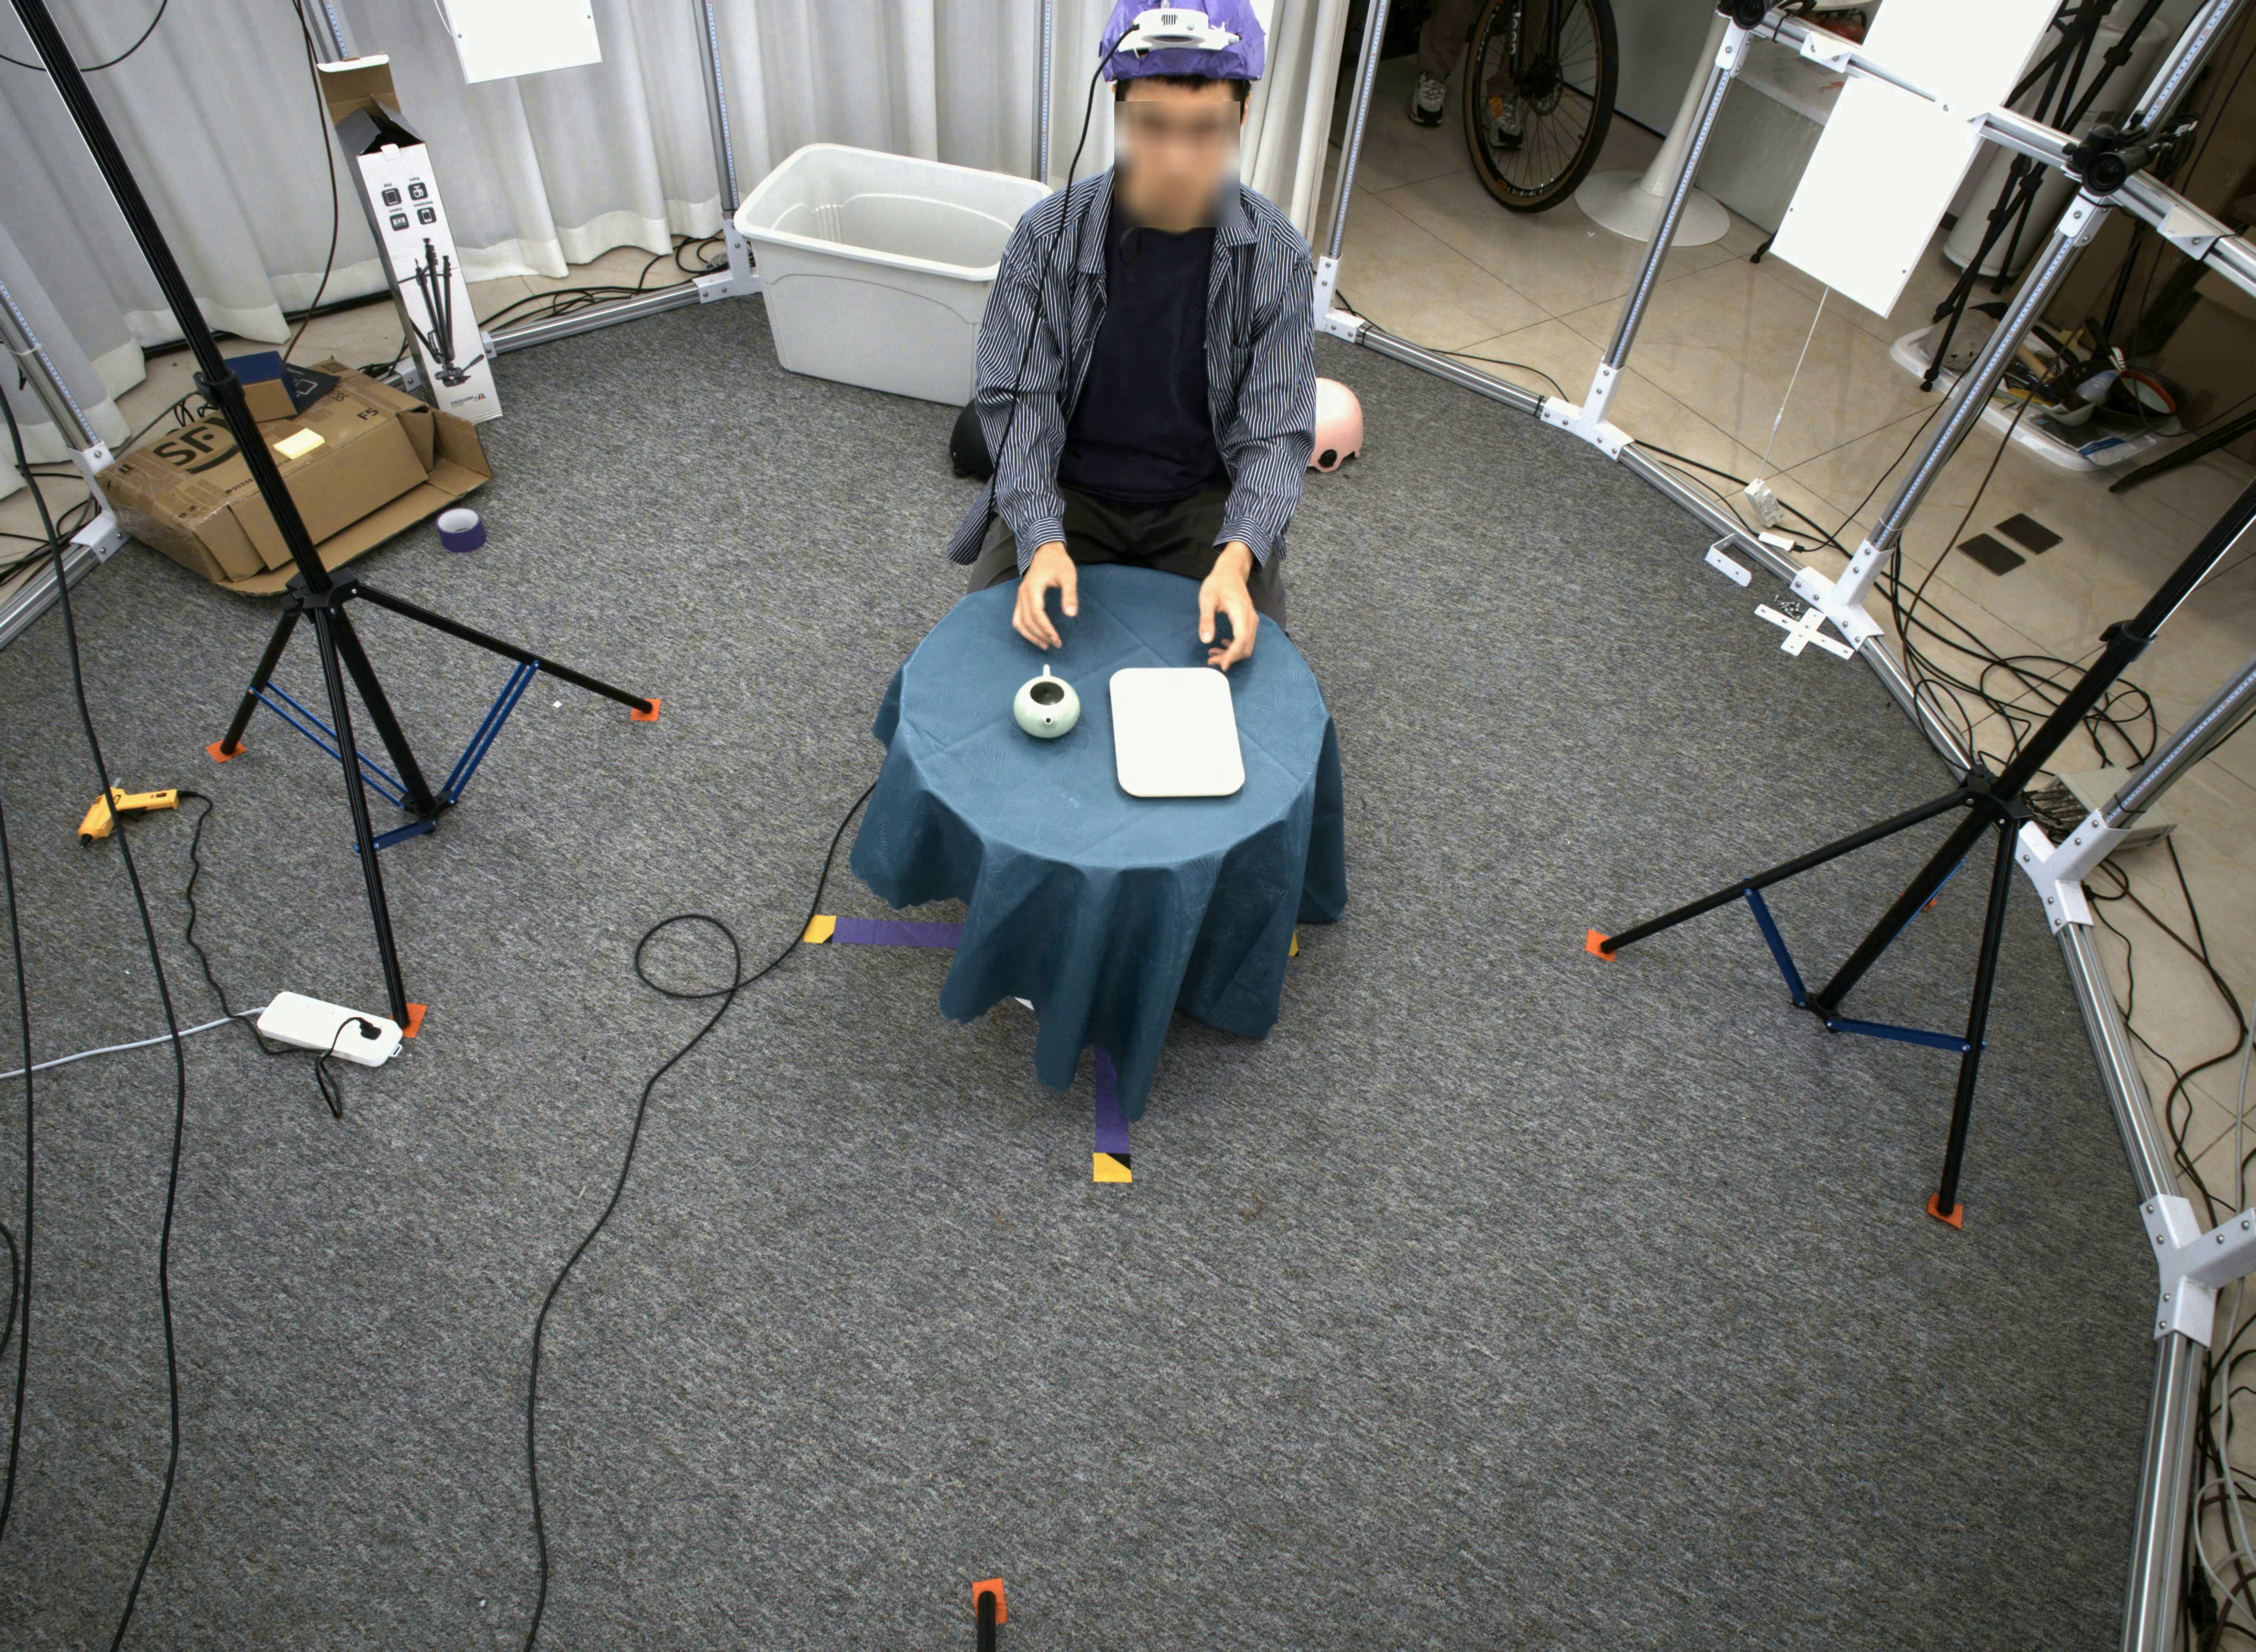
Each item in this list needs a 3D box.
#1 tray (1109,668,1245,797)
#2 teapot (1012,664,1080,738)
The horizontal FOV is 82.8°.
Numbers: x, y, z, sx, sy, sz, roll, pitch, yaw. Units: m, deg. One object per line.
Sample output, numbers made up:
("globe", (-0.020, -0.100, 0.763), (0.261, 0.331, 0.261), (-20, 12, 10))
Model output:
("tray", (0.064, -0.130, 1.766), (0.171, 0.017, 0.246), (-1, 49, -6))
("teapot", (-0.112, -0.170, 1.759), (0.091, 0.059, 0.132), (2, 48, -1))
